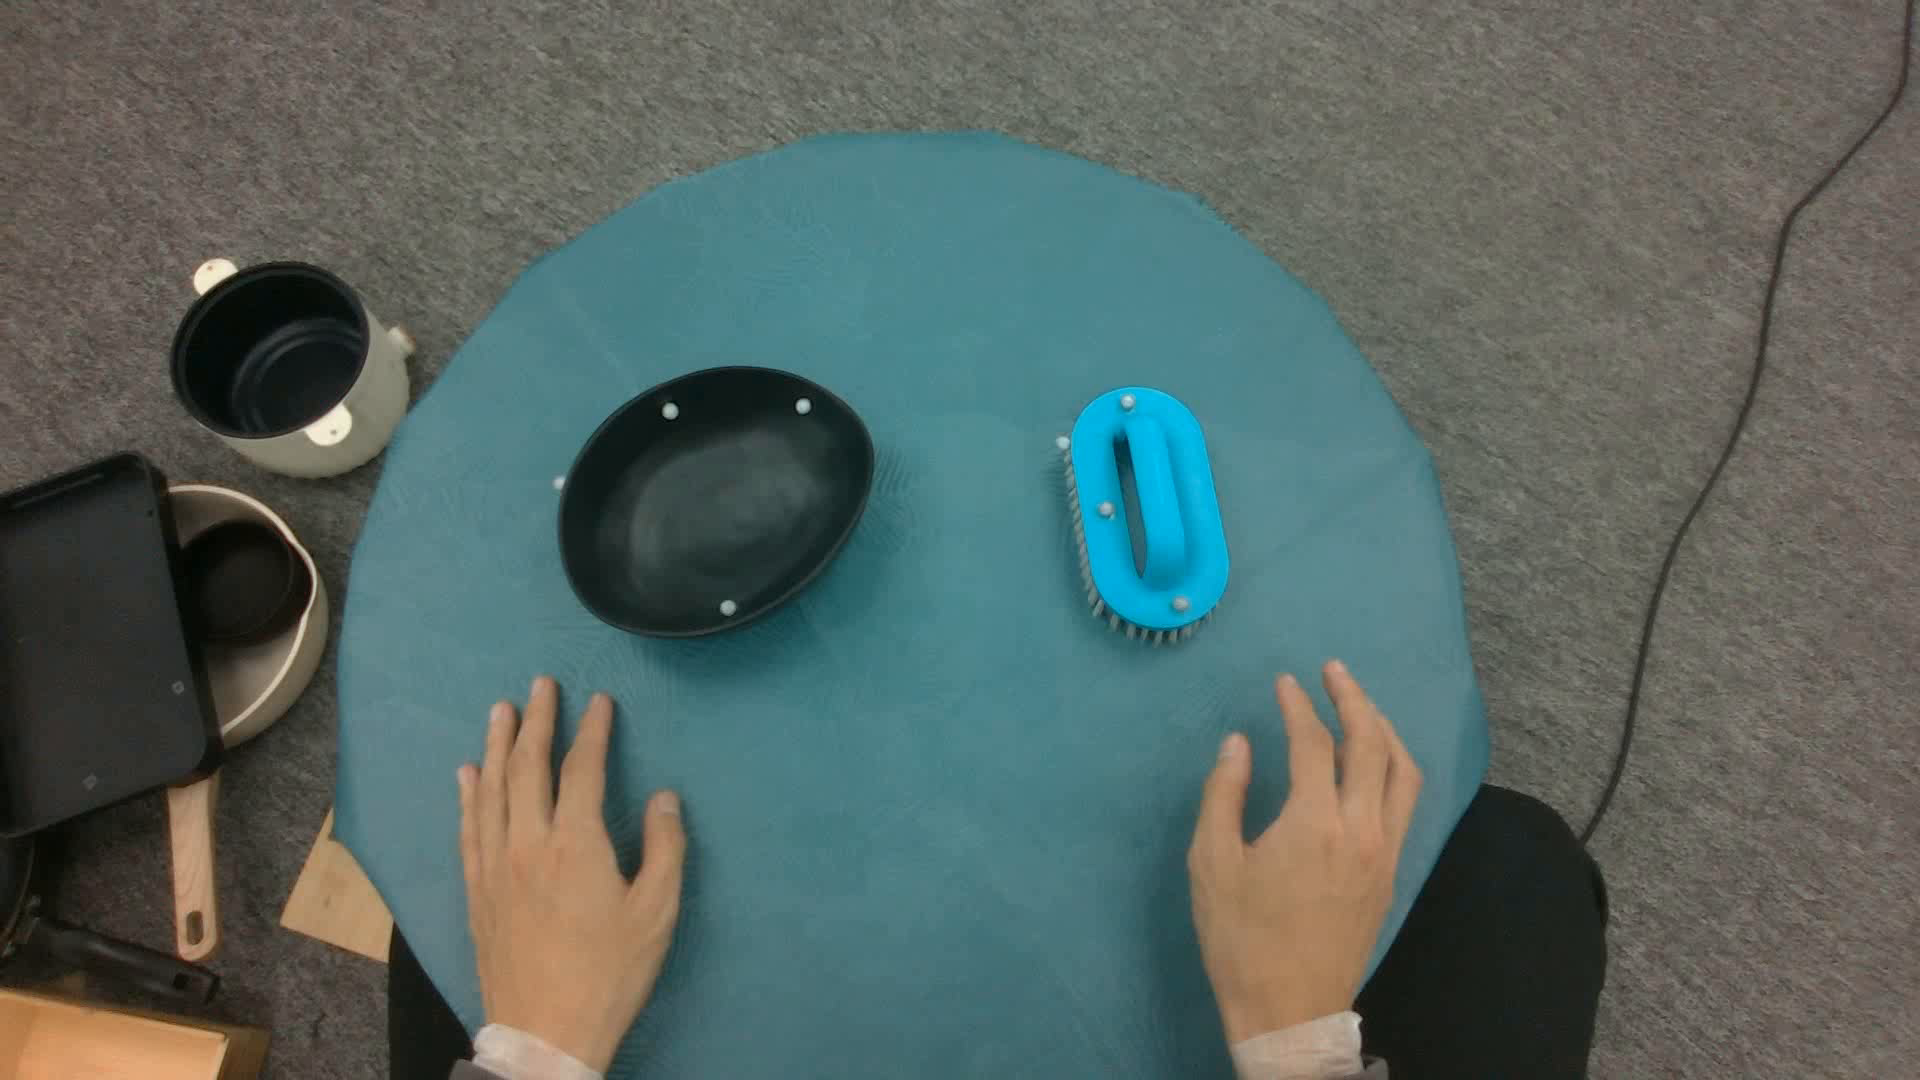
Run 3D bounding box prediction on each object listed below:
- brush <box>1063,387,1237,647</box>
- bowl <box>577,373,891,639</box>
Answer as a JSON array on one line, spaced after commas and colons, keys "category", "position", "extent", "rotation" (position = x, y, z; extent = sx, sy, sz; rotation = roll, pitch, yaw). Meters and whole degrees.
[{"category": "brush", "position": [0.104, -0.019, 0.731], "extent": [0.084, 0.063, 0.142], "rotation": [-3, 71, -5]}, {"category": "bowl", "position": [-0.117, -0.014, 0.735], "extent": [0.170, 0.066, 0.137], "rotation": [-36, 74, -13]}]
